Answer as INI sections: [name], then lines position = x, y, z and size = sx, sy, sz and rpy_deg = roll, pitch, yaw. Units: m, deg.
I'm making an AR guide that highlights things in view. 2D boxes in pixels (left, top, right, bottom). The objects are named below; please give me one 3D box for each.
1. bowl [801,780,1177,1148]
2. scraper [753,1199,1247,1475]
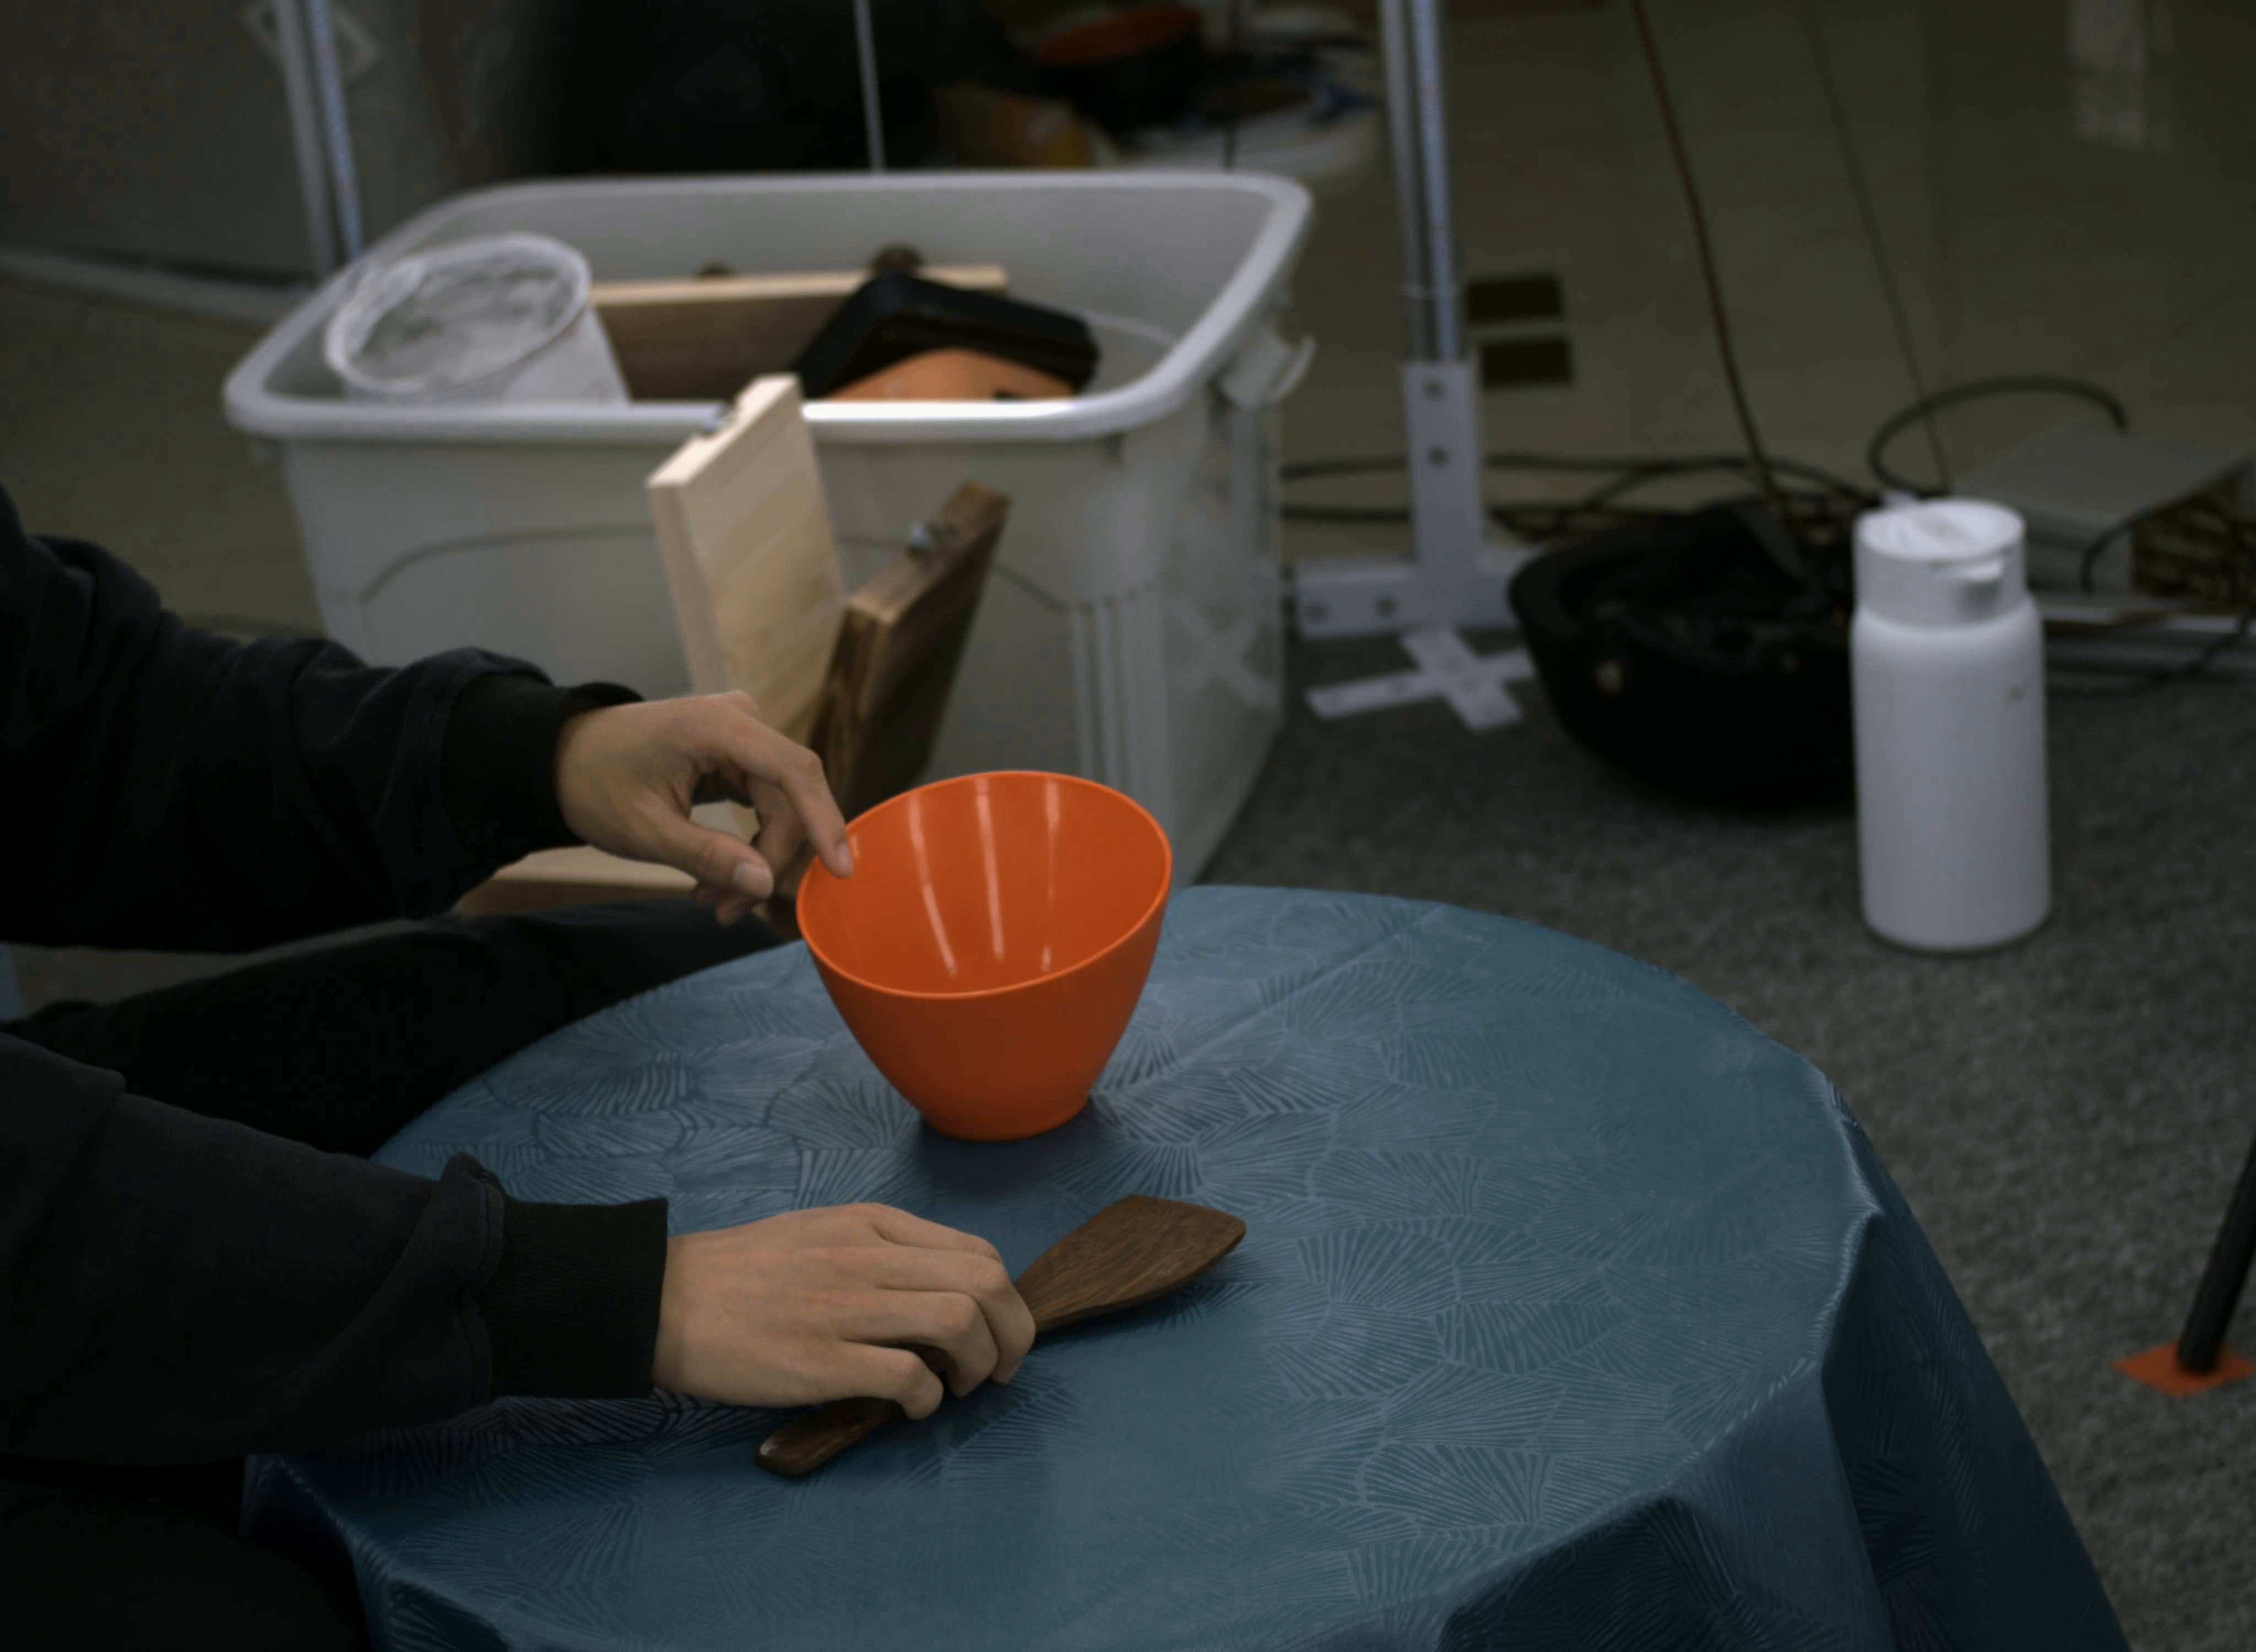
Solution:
[bowl]
position = -0.051, 0.060, 2.214
size = 0.148, 0.106, 0.146
rpy_deg = -5, 25, 2
[scraper]
position = -0.050, 0.185, 2.051
size = 0.209, 0.011, 0.075
rpy_deg = -27, 24, -35
